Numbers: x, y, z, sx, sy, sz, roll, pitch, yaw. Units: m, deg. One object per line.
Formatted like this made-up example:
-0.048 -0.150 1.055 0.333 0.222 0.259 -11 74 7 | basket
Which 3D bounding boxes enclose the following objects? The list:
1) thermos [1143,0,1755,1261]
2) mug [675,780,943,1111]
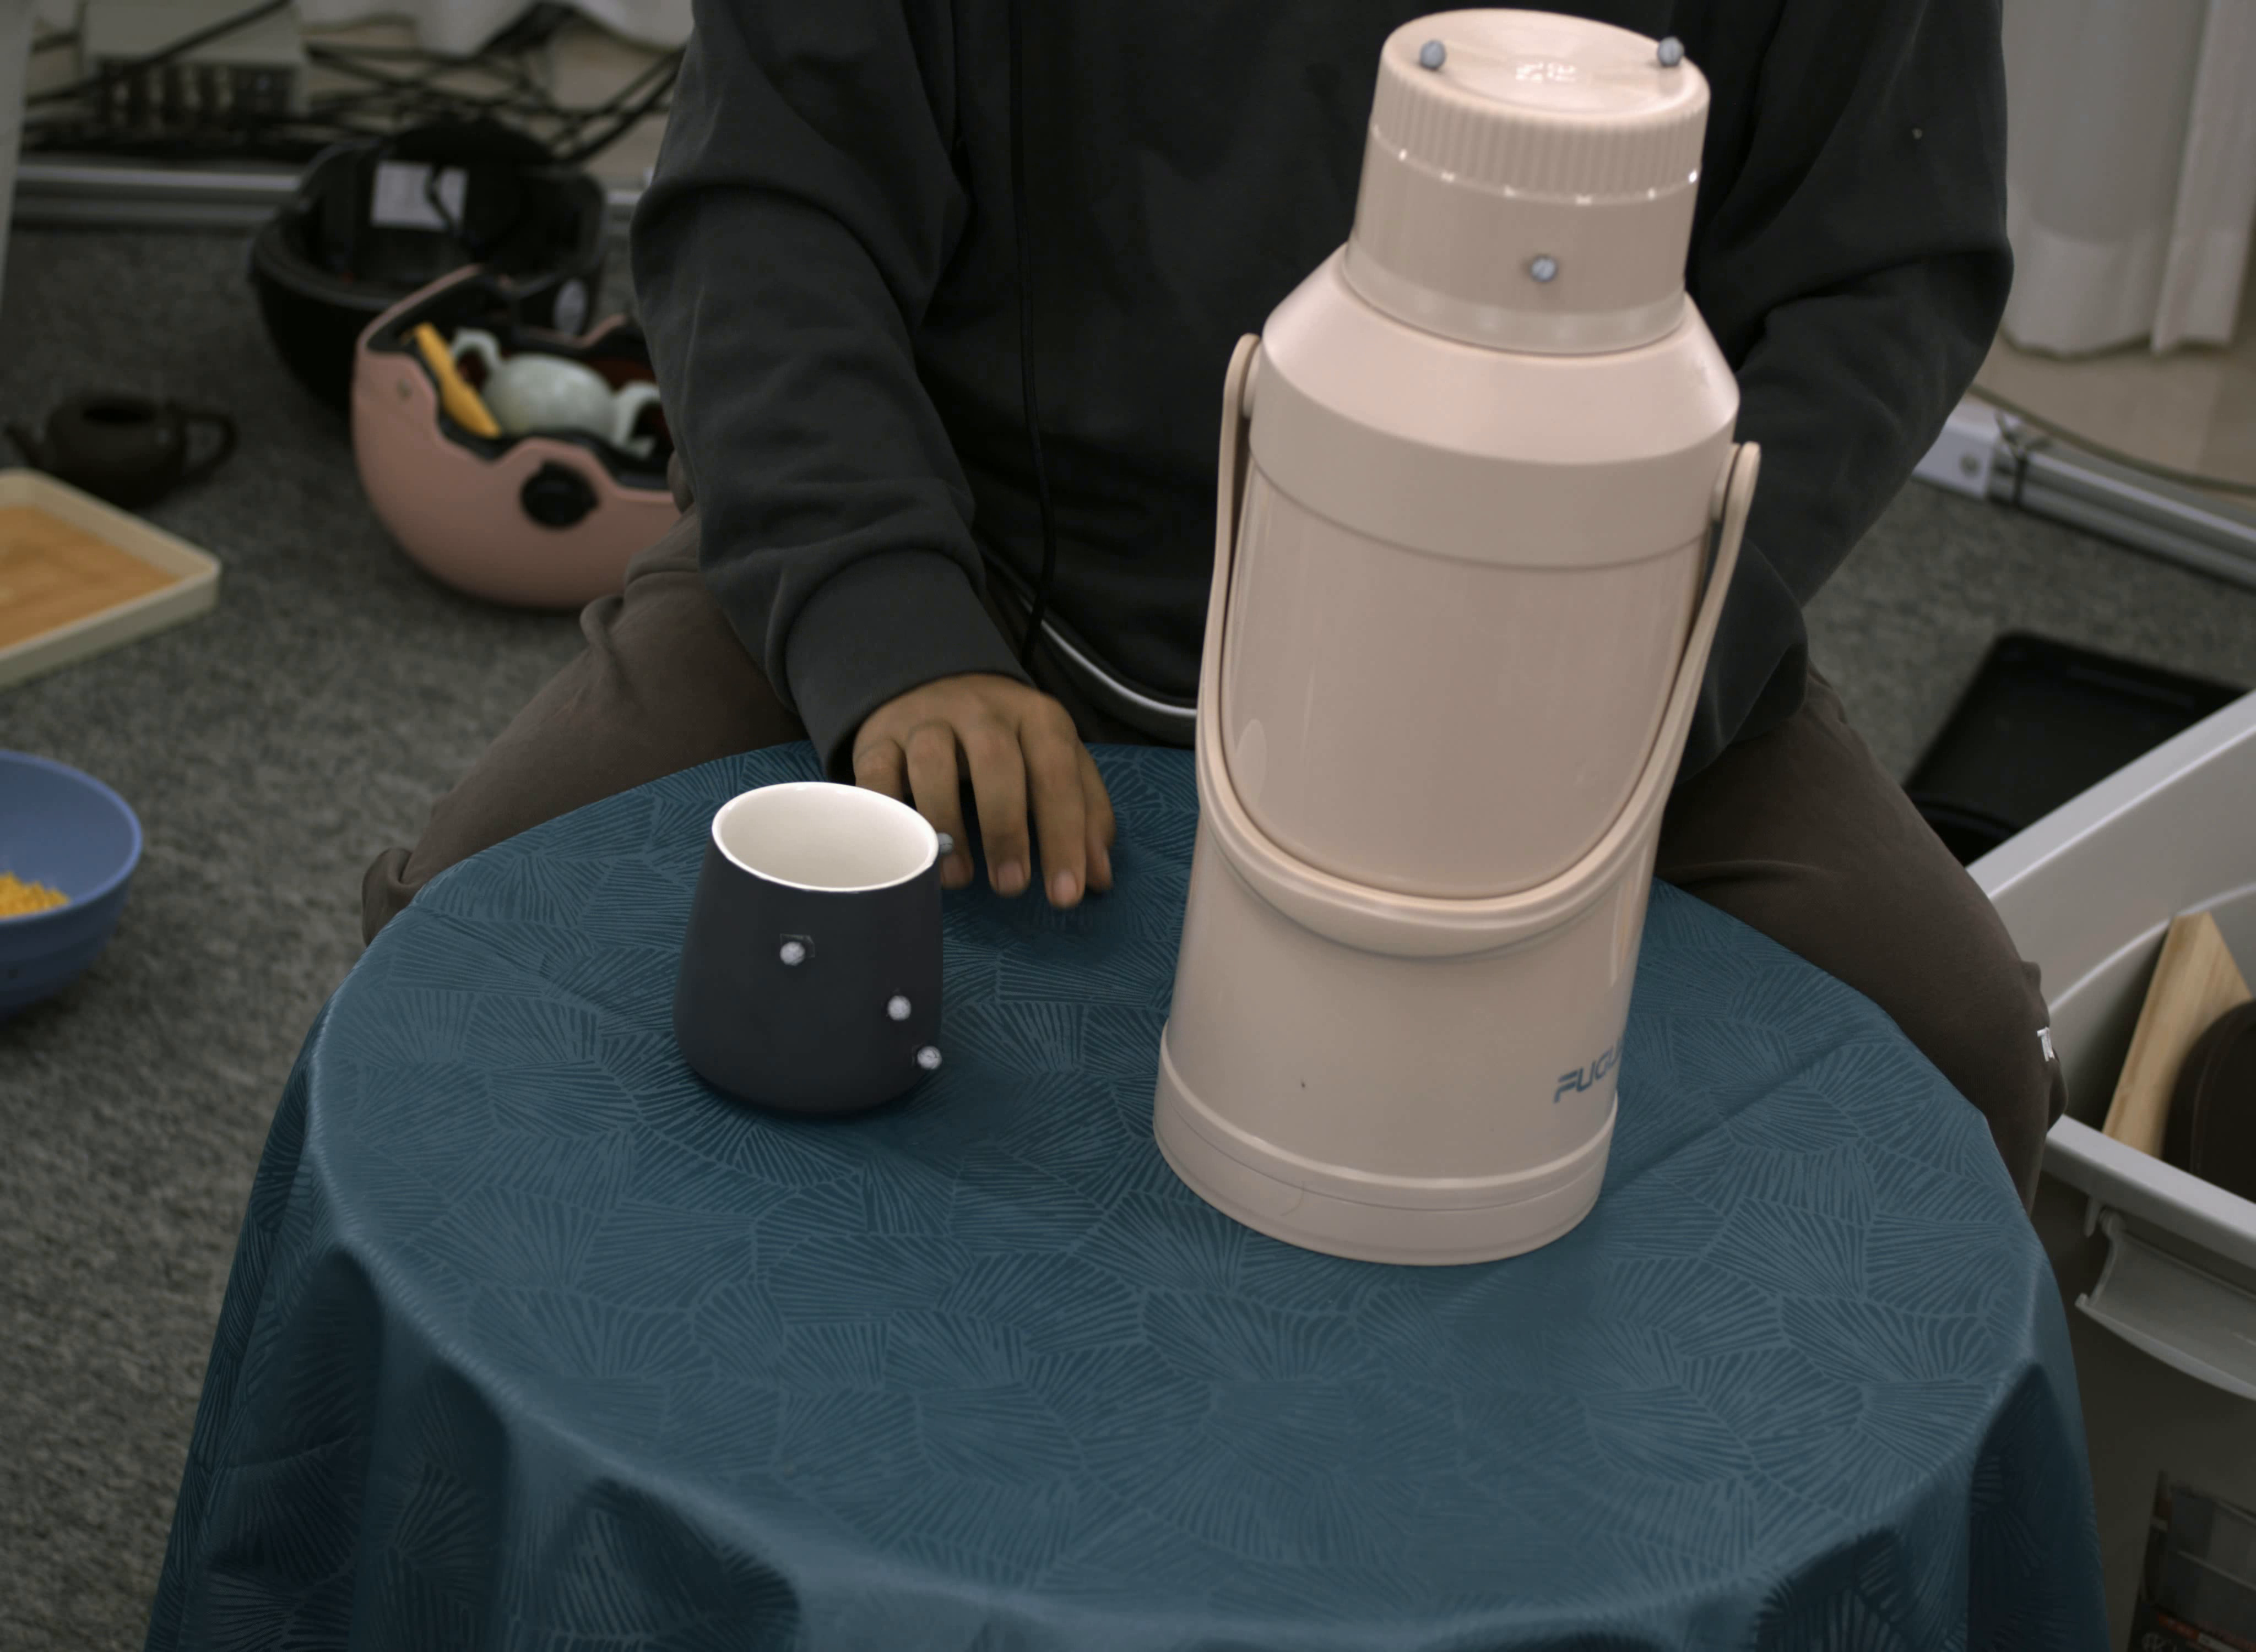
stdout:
0.112 -0.070 1.777 0.175 0.405 0.207 13 27 12 | thermos
-0.106 0.035 1.854 0.093 0.089 0.124 10 27 5 | mug
